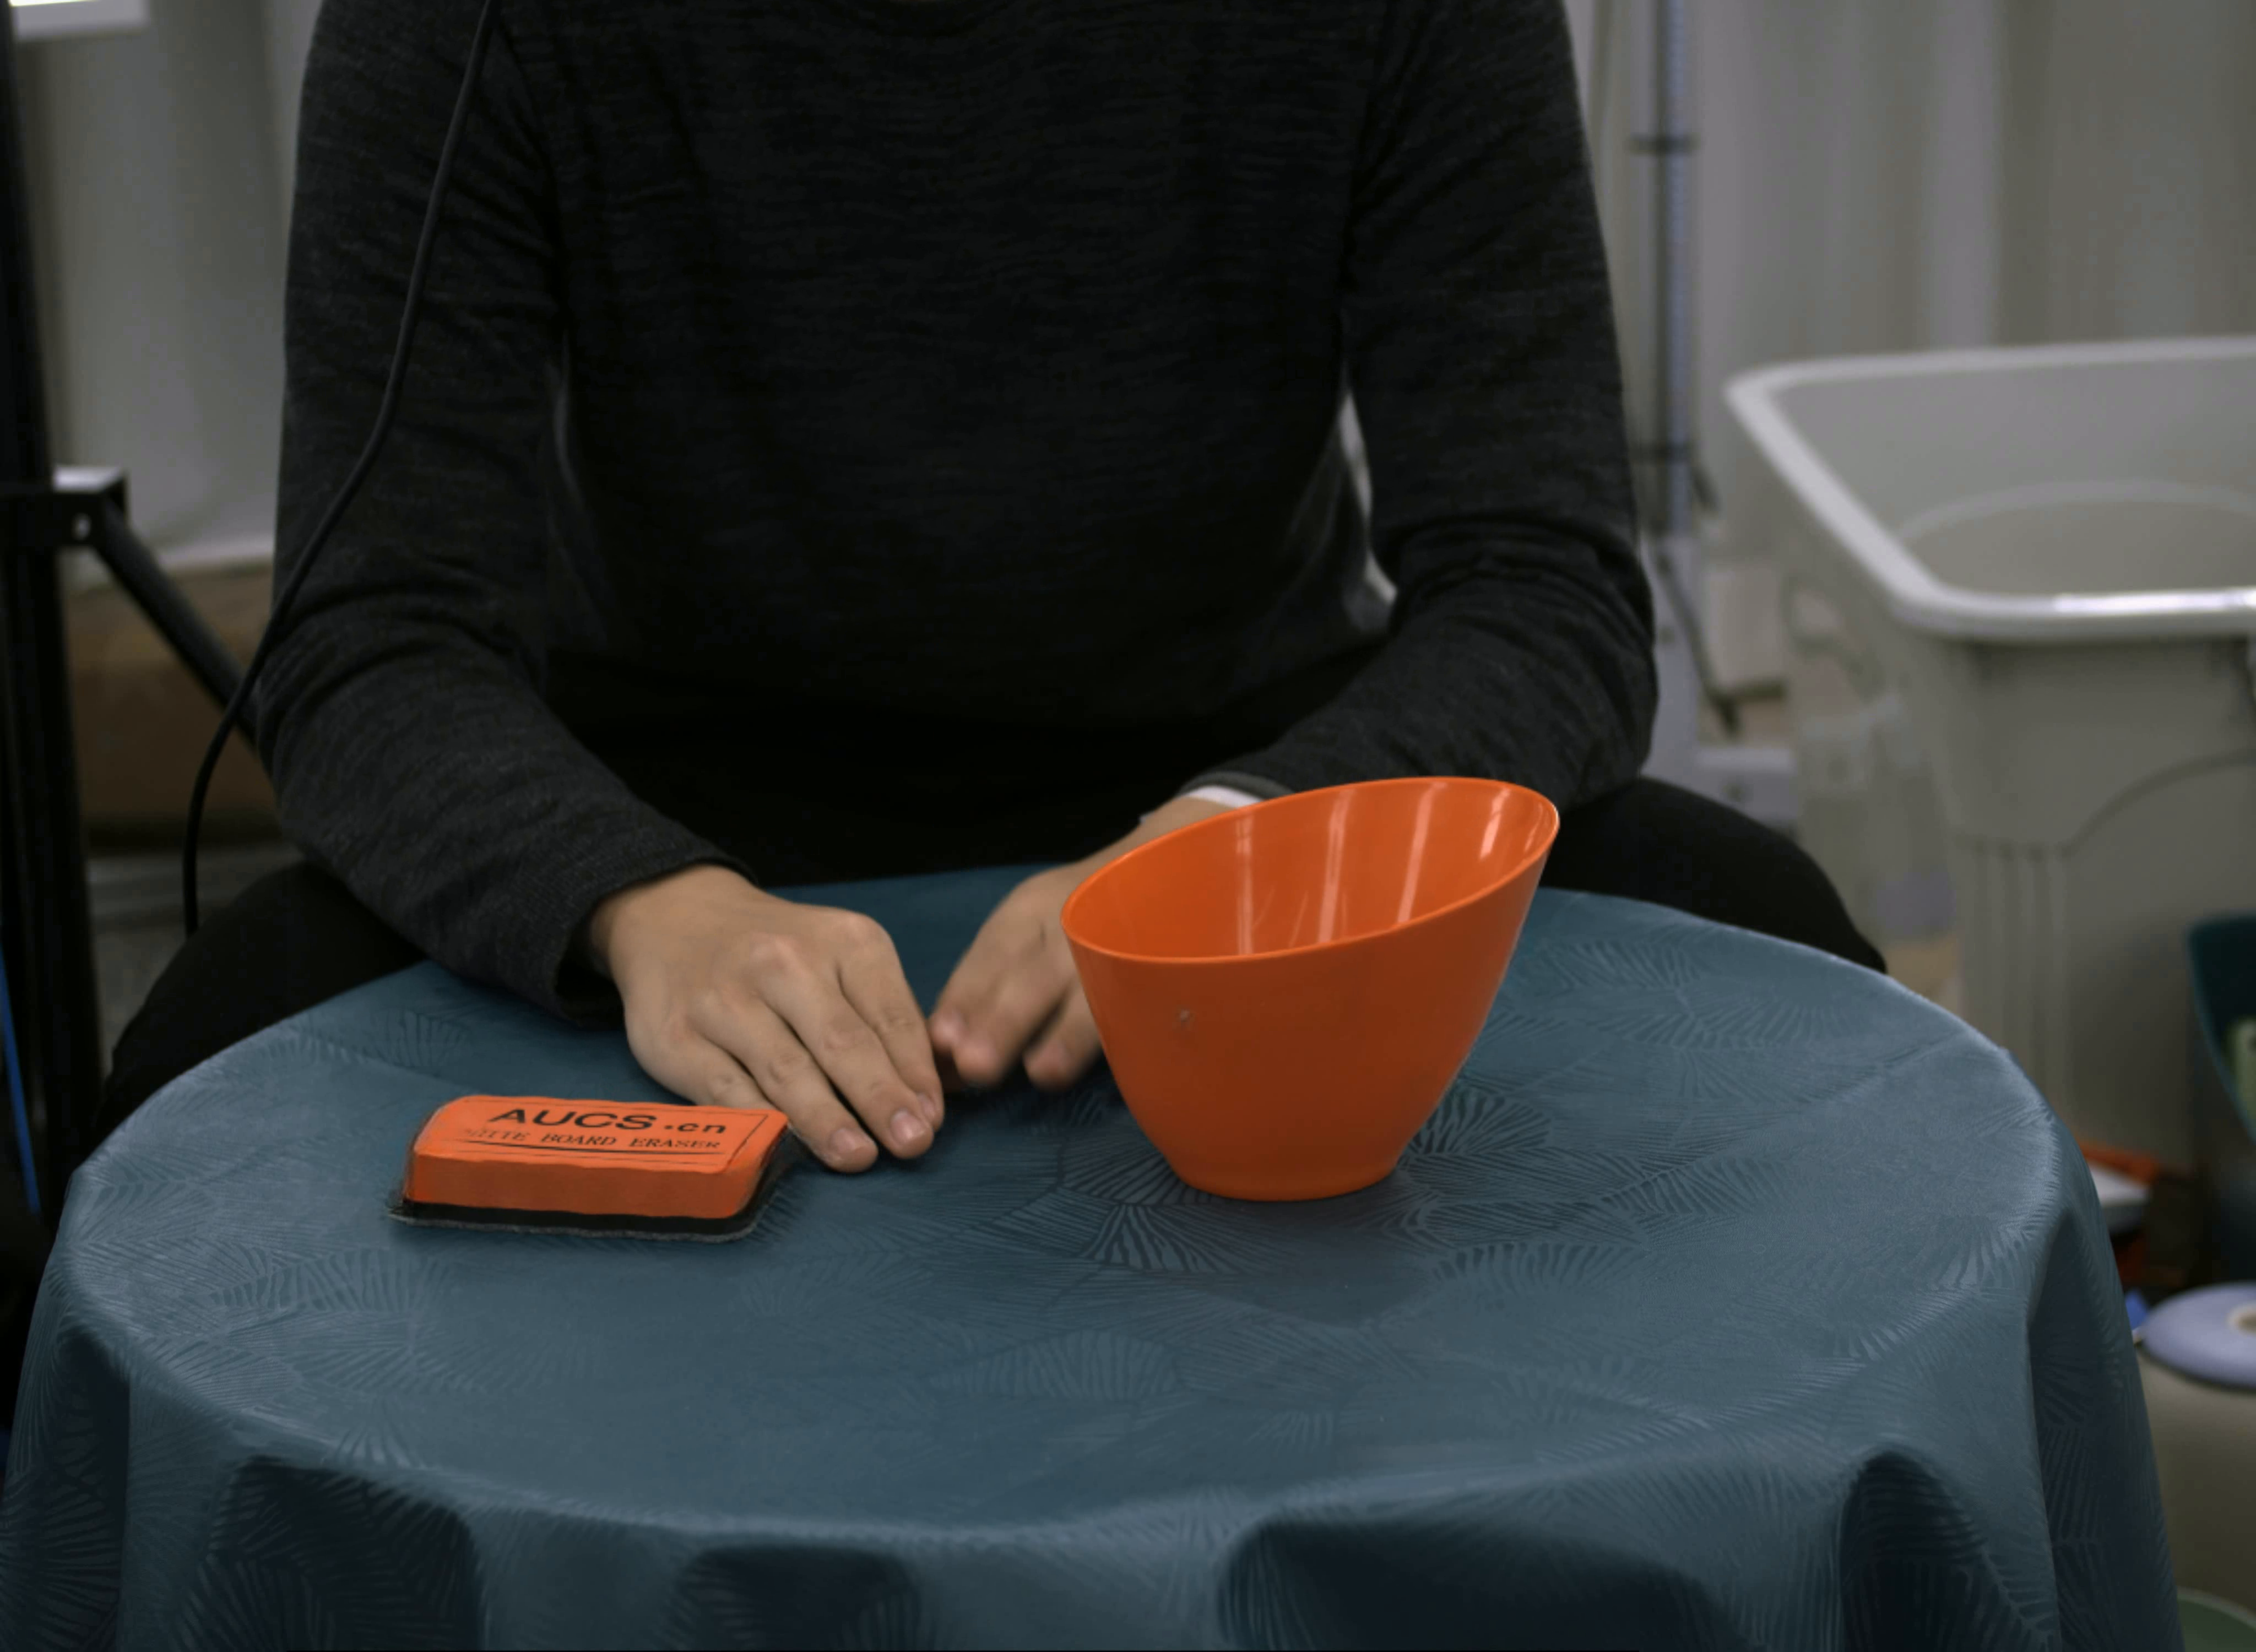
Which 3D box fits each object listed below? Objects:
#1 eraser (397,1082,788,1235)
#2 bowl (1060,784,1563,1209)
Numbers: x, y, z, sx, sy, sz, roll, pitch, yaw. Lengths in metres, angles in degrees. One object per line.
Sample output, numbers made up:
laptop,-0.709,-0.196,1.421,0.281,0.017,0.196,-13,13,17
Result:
eraser,-0.157,0.097,1.567,0.109,0.023,0.058,3,18,15
bowl,0.055,0.053,1.560,0.147,0.104,0.149,-2,16,-1
